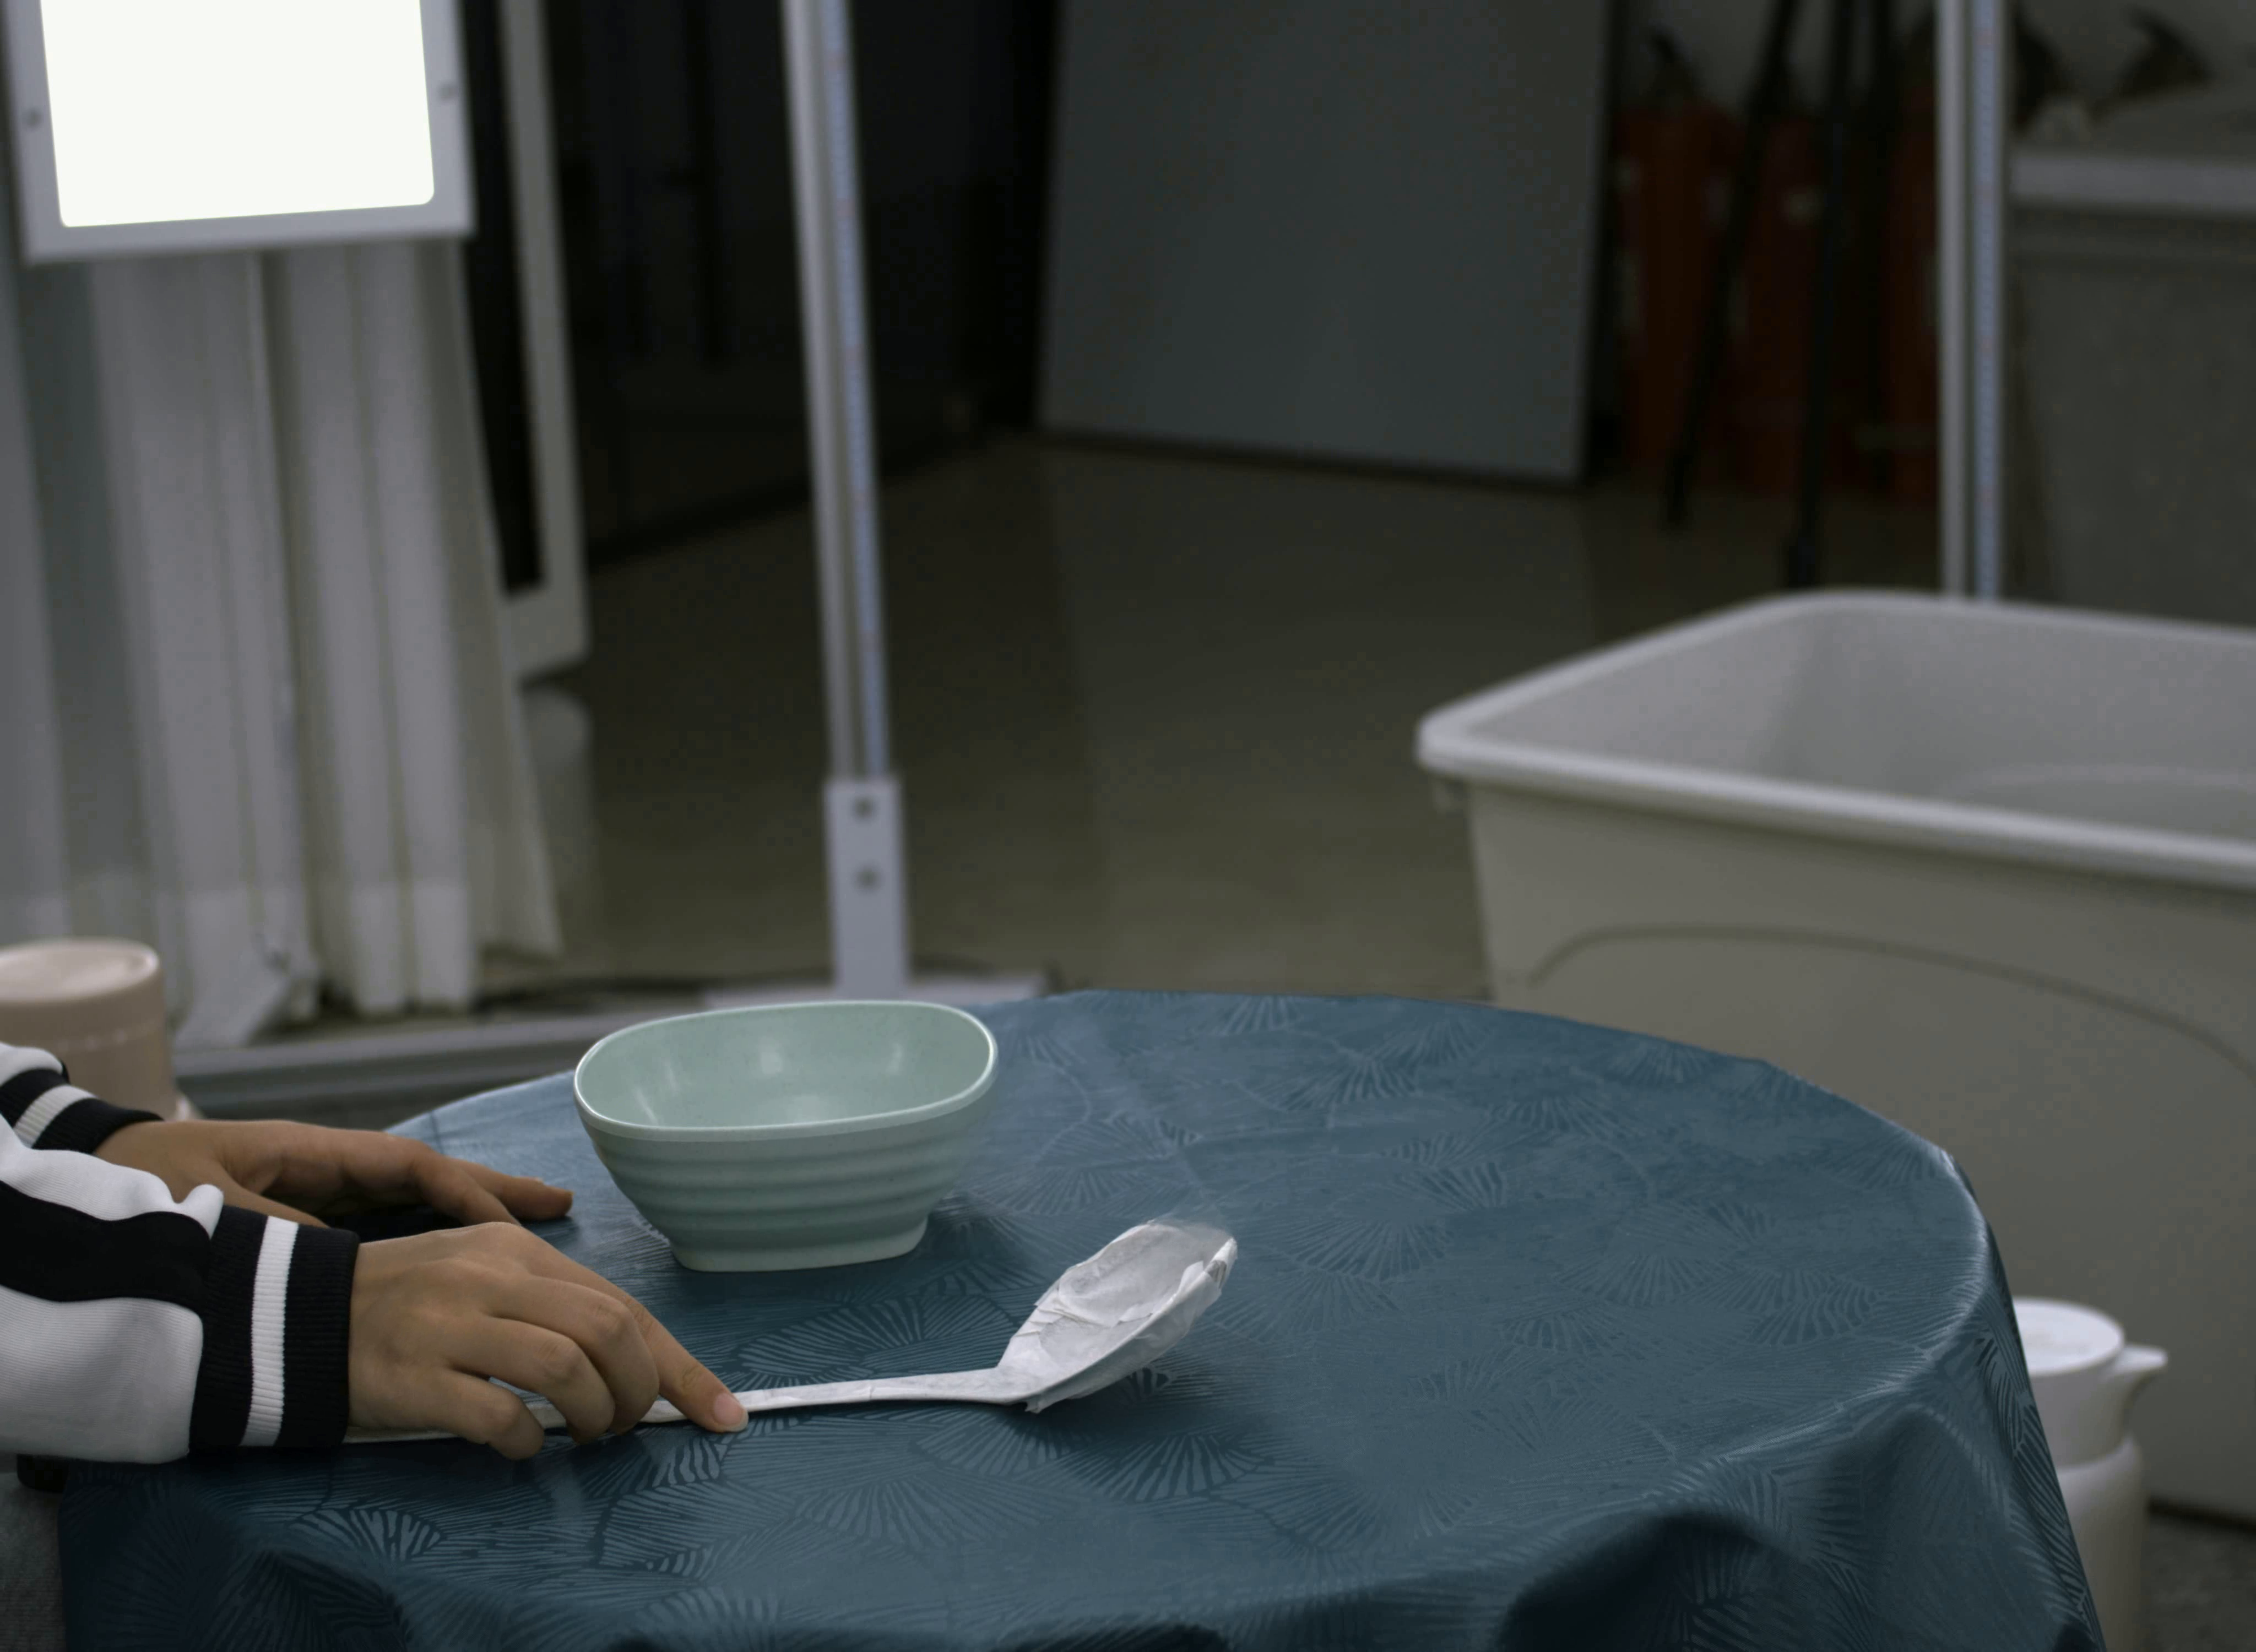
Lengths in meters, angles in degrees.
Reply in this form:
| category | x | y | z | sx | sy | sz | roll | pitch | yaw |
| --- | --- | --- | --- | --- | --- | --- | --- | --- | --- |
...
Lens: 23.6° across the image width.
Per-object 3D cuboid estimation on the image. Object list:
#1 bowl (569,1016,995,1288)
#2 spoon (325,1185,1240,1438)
| category | x | y | z | sx | sy | sz | roll | pitch | yaw |
| --- | --- | --- | --- | --- | --- | --- | --- | --- | --- |
| bowl | -0.110 | 0.108 | 1.748 | 0.149 | 0.059 | 0.151 | -4 | 13 | 0 |
| spoon | -0.102 | 0.143 | 1.593 | 0.274 | 0.060 | 0.100 | -3 | 8 | 4 |
